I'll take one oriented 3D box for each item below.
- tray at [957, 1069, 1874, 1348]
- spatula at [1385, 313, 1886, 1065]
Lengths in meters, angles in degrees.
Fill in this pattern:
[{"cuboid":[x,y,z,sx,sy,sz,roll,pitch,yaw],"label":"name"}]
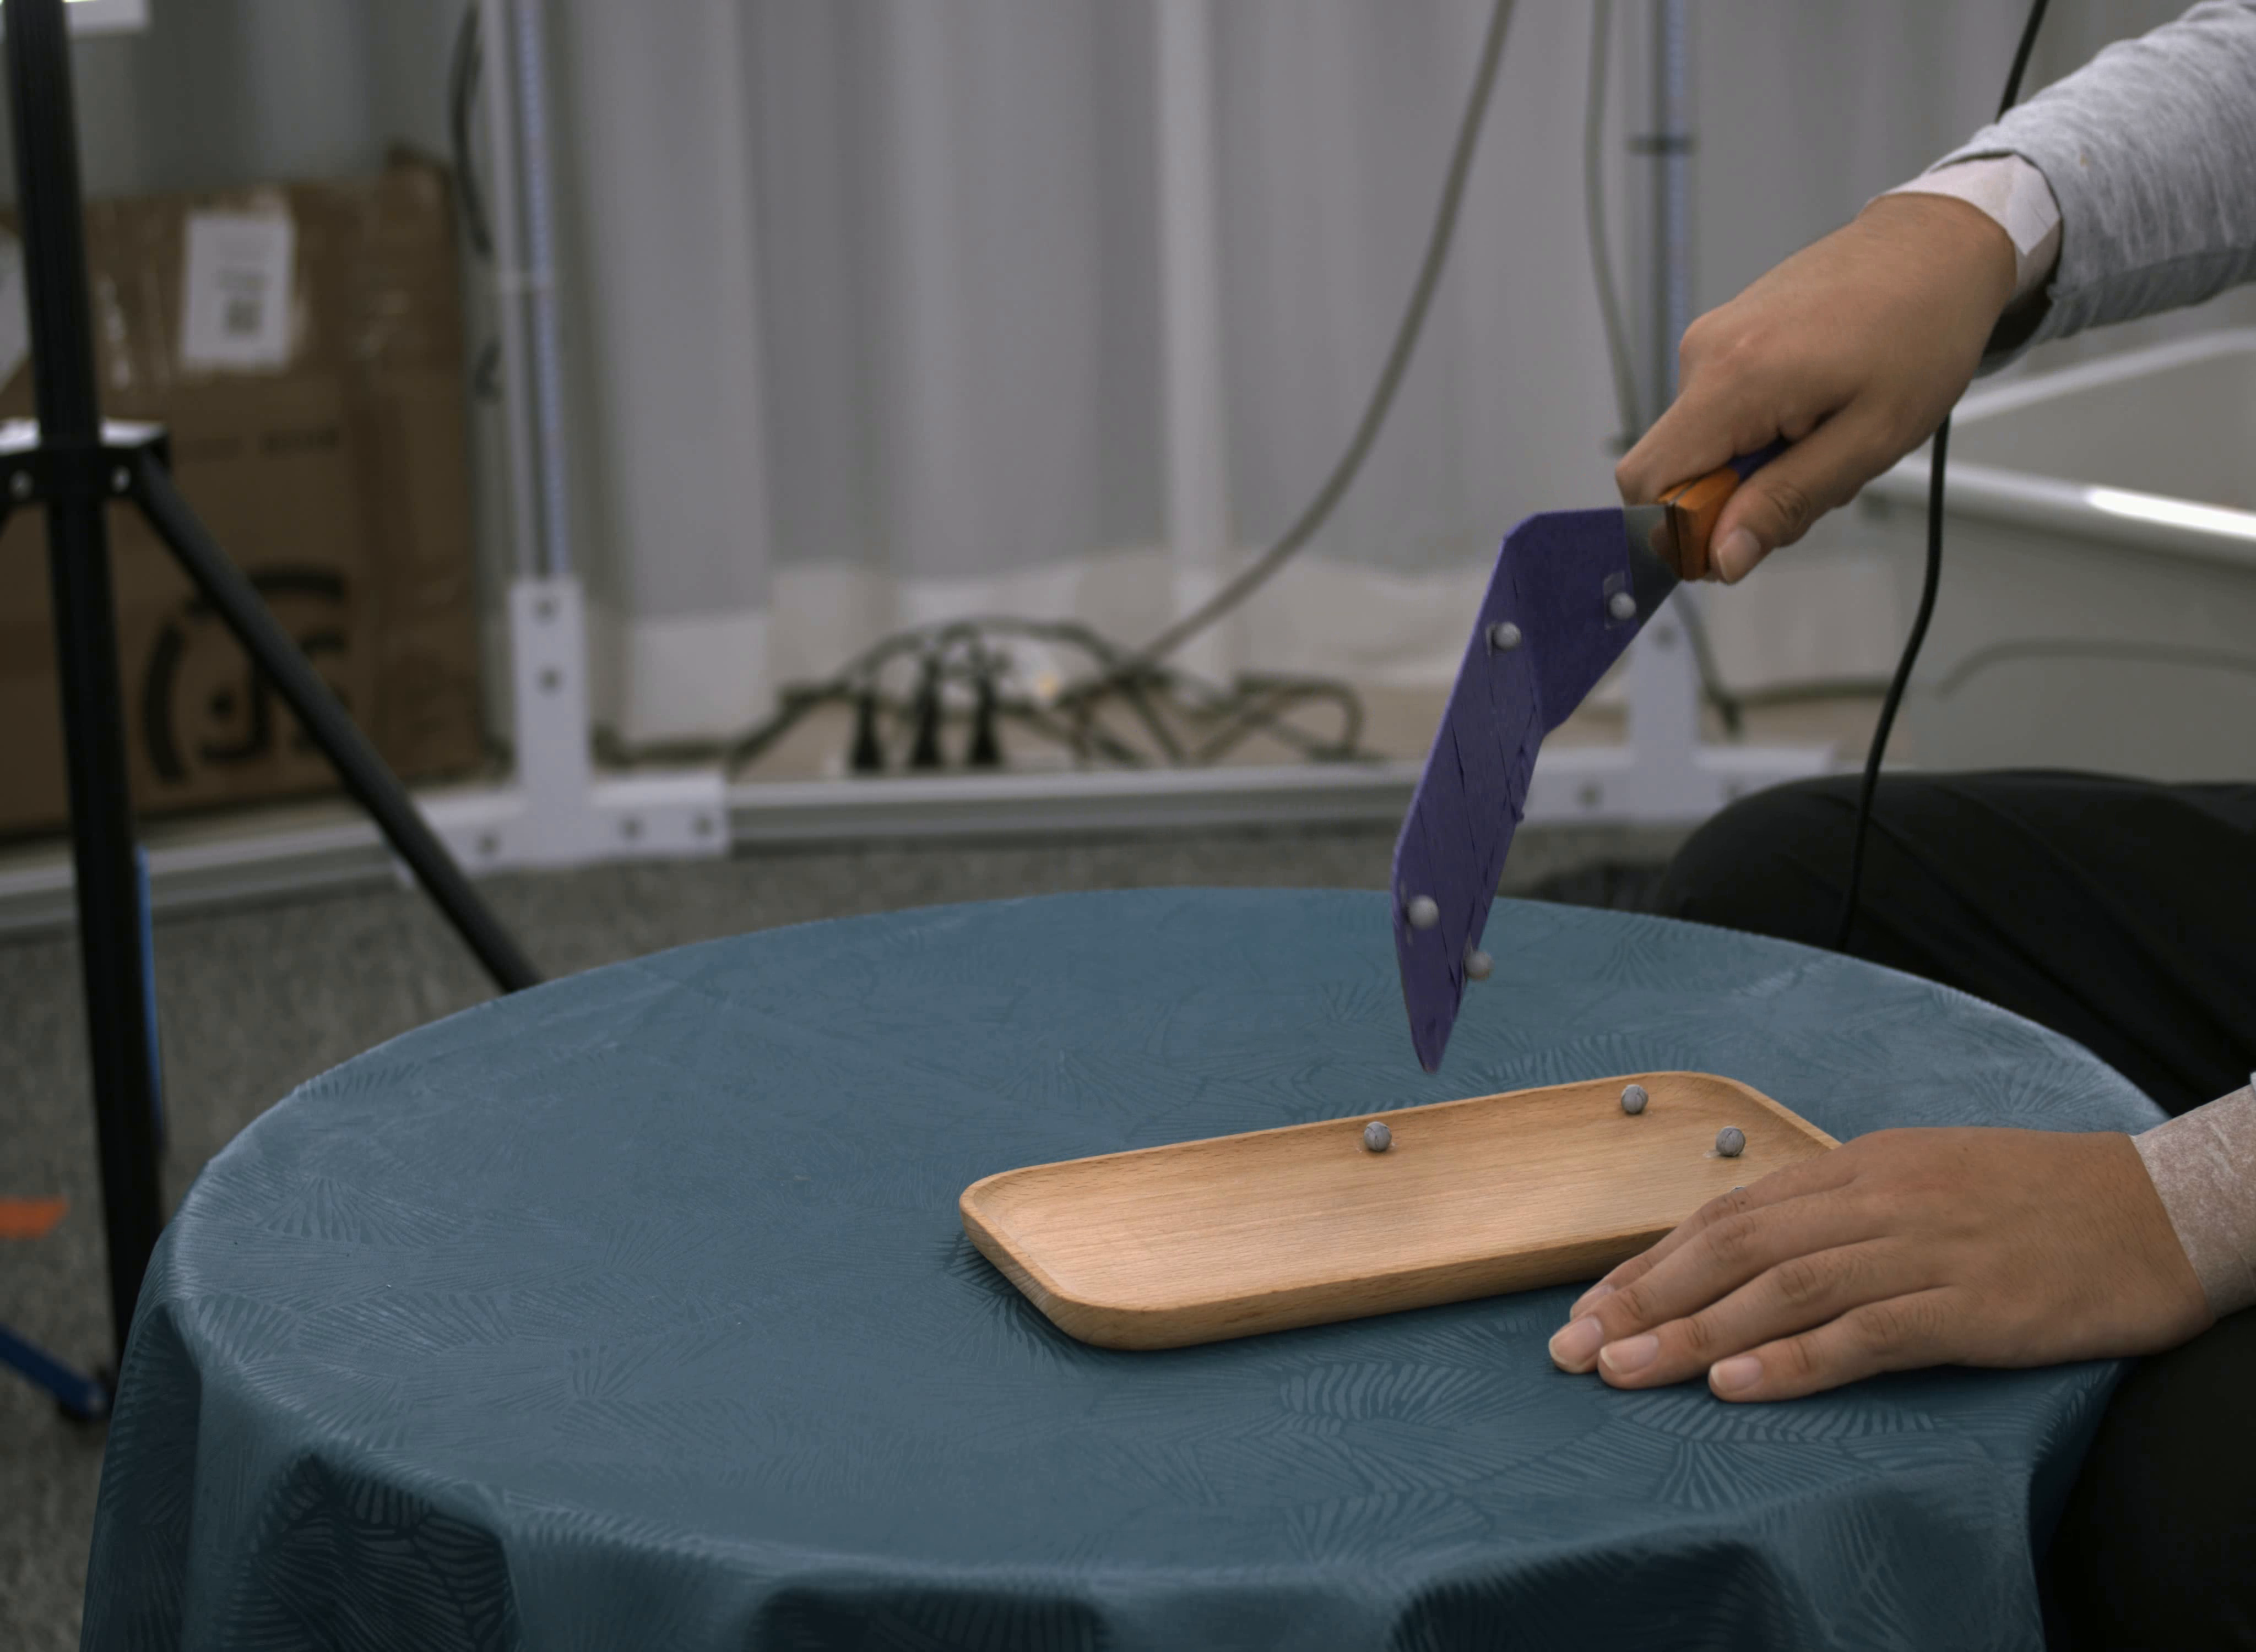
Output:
[{"cuboid":[0.082,0.108,1.511,0.246,0.023,0.132,-8,14,-16],"label":"tray"},{"cuboid":[0.154,-0.054,1.573,0.088,0.075,0.354,17,41,38],"label":"spatula"}]
